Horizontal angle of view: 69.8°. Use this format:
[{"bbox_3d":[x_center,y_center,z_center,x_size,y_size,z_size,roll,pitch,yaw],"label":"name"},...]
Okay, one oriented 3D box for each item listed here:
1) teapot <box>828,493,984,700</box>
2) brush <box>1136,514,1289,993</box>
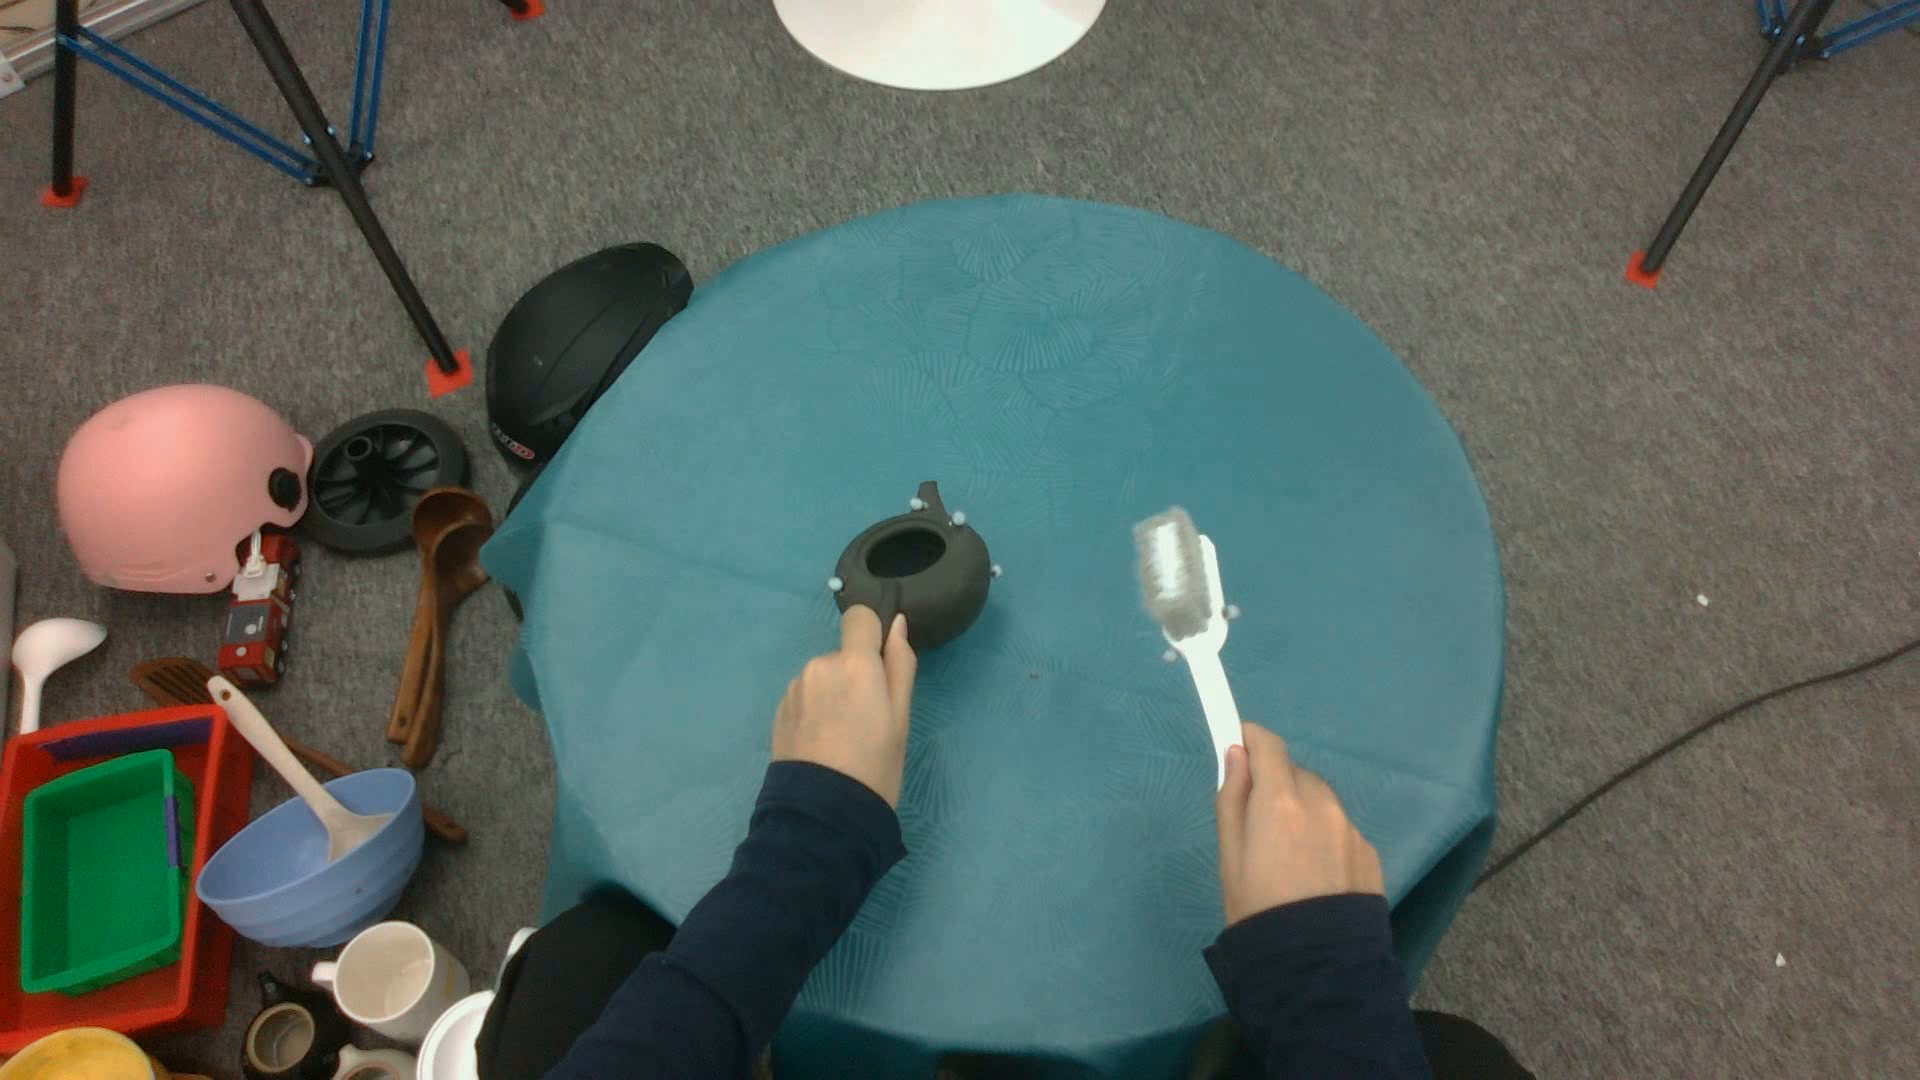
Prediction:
[{"bbox_3d":[-0.032,0.034,0.813,0.092,0.064,0.155,-1,40,16],"label":"teapot"},{"bbox_3d":[0.125,0.101,0.693,0.034,0.050,0.244,-16,64,18],"label":"brush"}]
